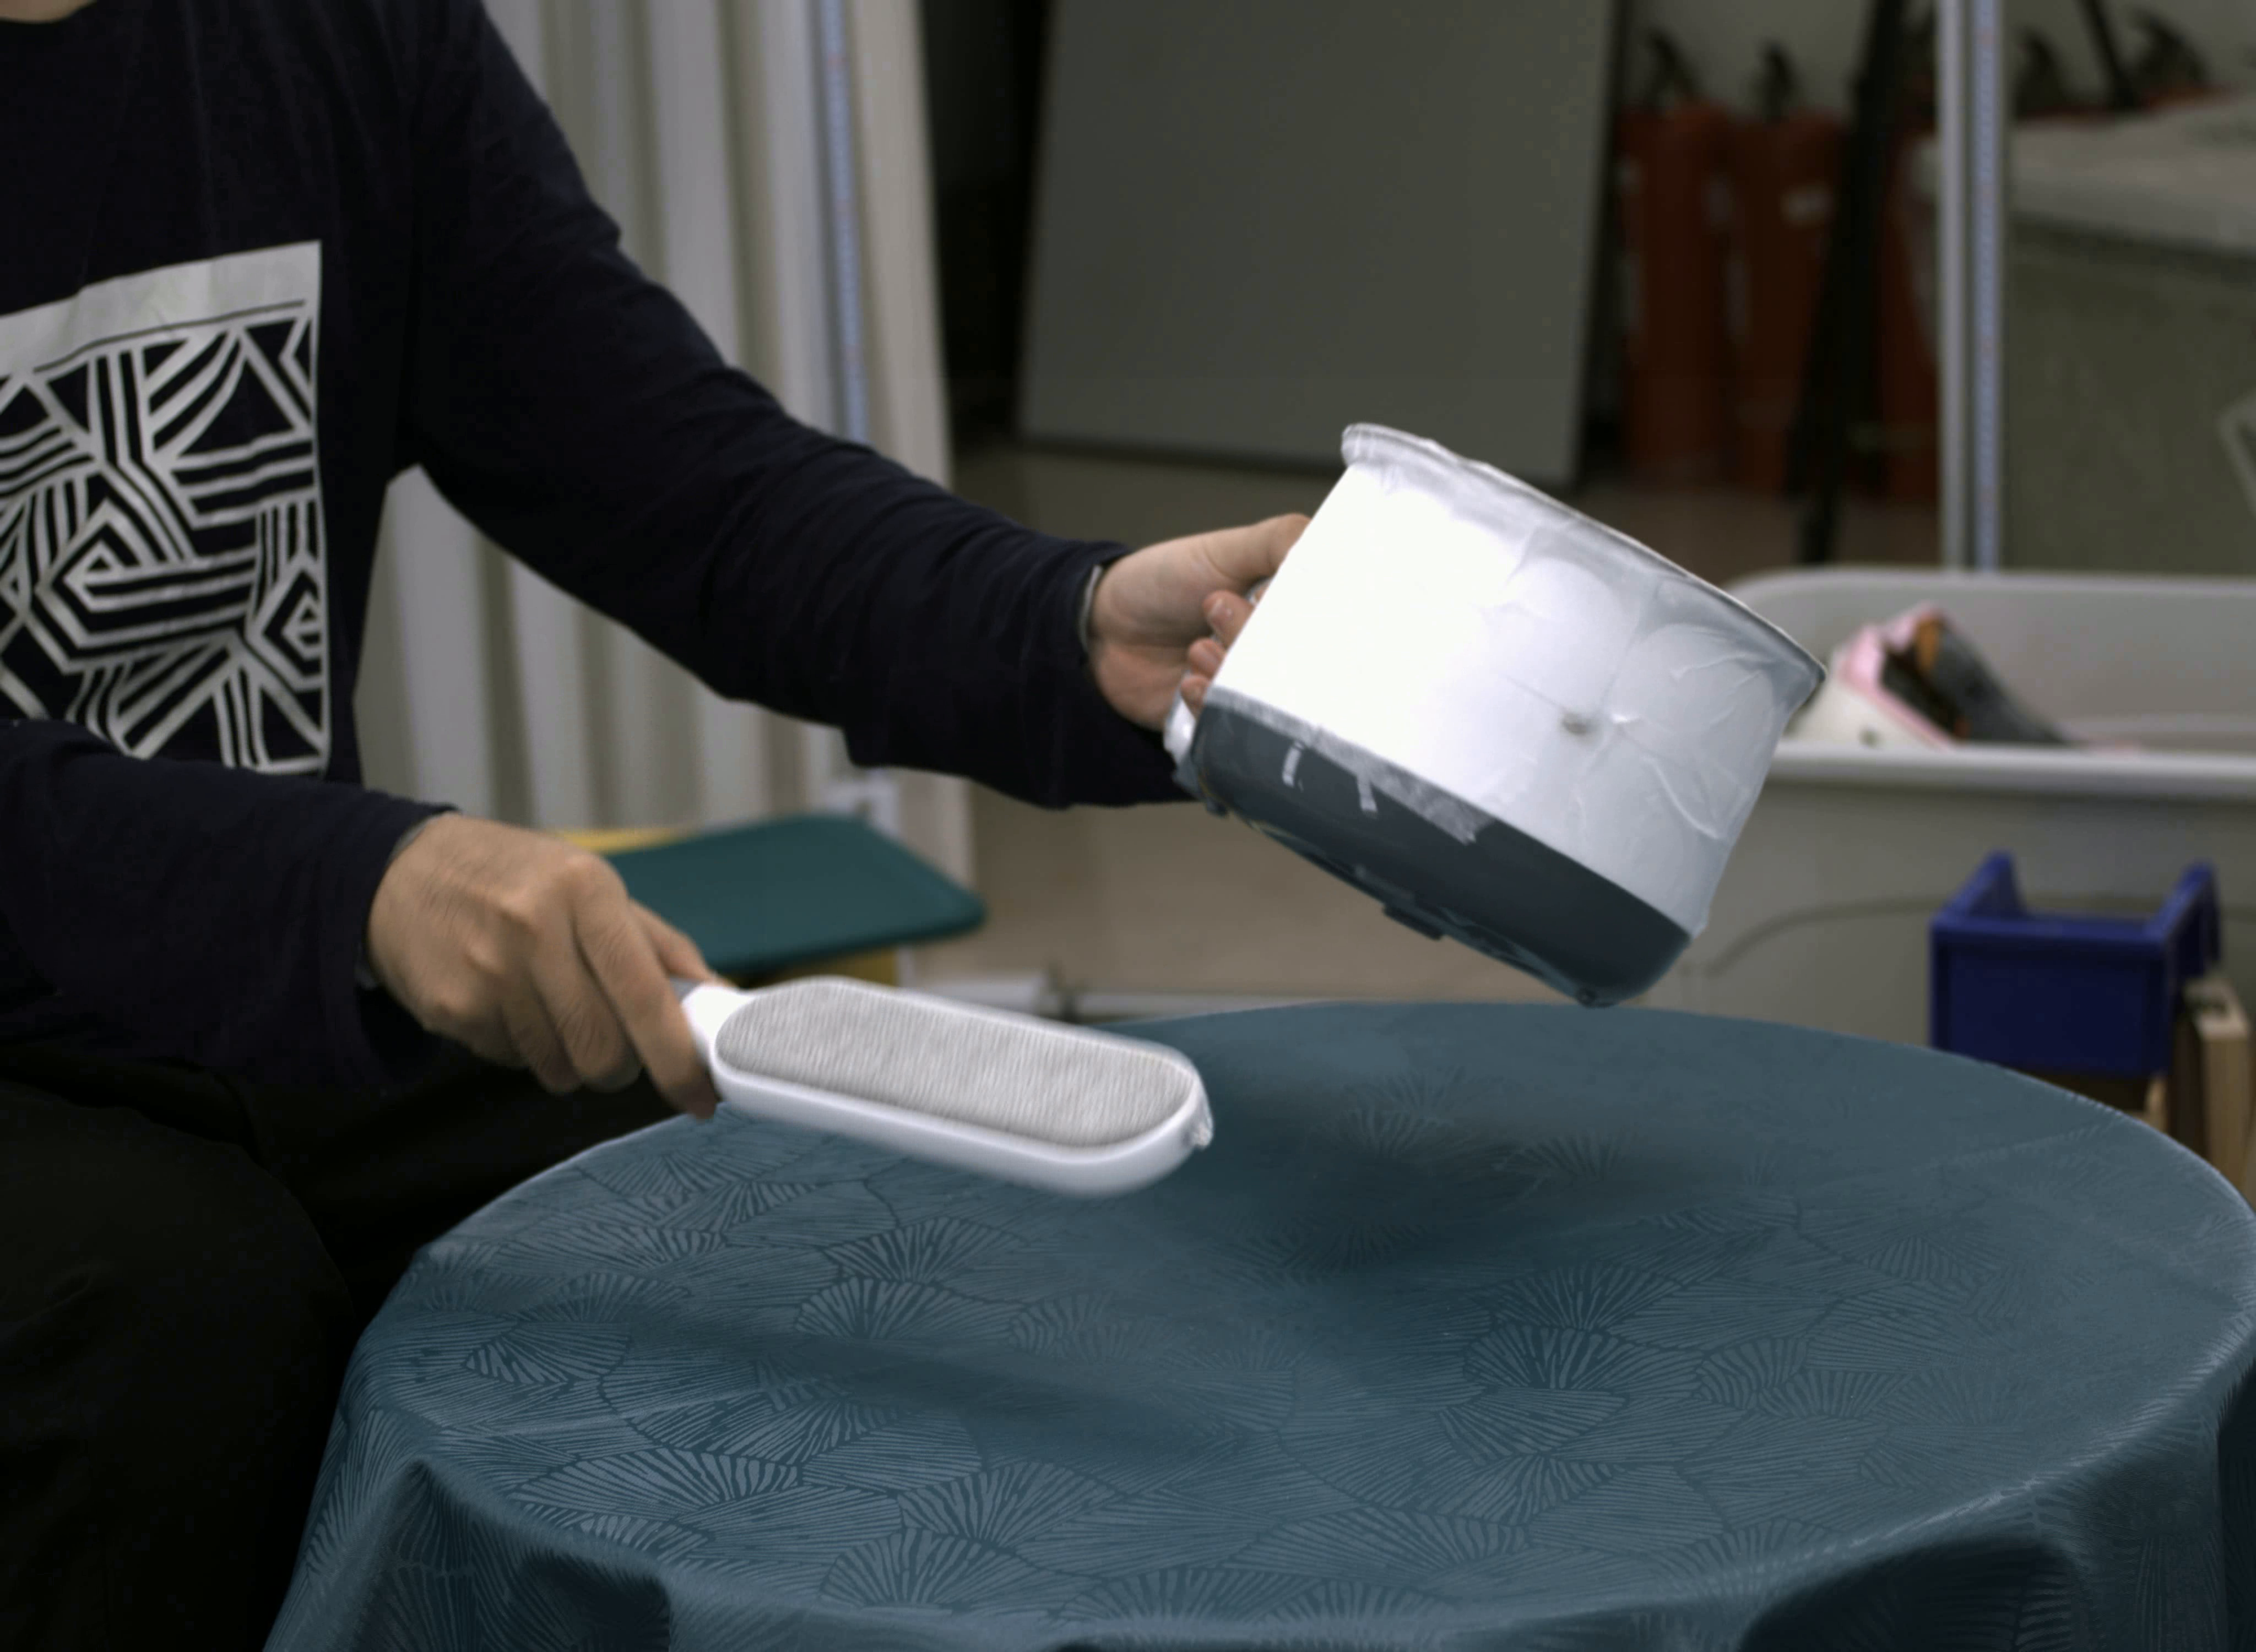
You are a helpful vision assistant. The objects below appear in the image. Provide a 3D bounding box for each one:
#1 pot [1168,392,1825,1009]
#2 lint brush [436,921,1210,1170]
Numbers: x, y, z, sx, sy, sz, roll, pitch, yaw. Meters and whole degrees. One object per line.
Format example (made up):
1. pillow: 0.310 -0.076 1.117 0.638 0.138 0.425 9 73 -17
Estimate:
1. pot: 0.103 -0.045 1.761 0.176 0.137 0.236 34 -5 -36
2. lint brush: -0.101 0.061 1.666 0.311 0.021 0.059 10 45 39
